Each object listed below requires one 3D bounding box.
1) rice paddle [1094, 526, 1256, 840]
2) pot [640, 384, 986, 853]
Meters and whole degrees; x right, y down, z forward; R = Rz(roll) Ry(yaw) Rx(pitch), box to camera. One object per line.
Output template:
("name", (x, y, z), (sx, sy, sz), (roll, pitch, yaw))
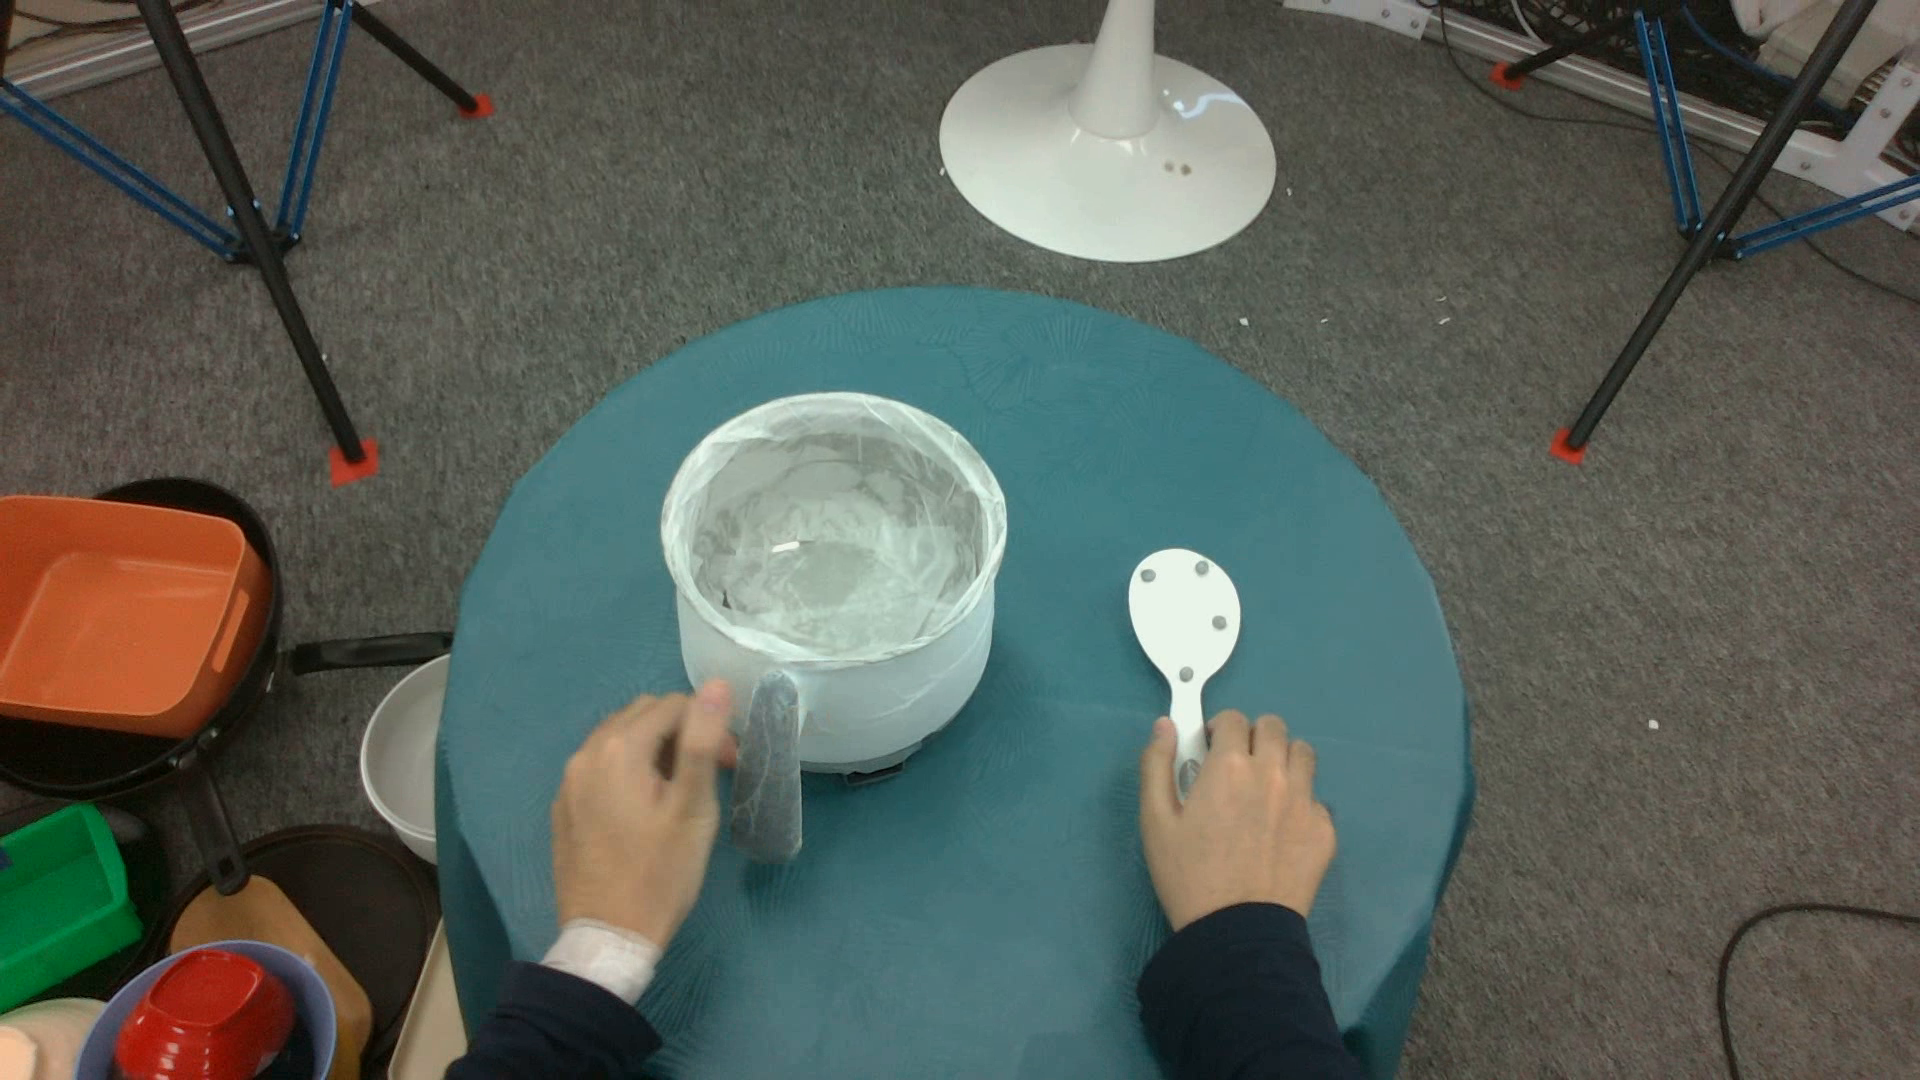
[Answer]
("rice paddle", (0.128, 0.074, 0.807), (0.069, 0.029, 0.206), (-8, 57, -7))
("pot", (-0.083, 0.044, 0.739), (0.178, 0.136, 0.235), (10, 52, 4))
